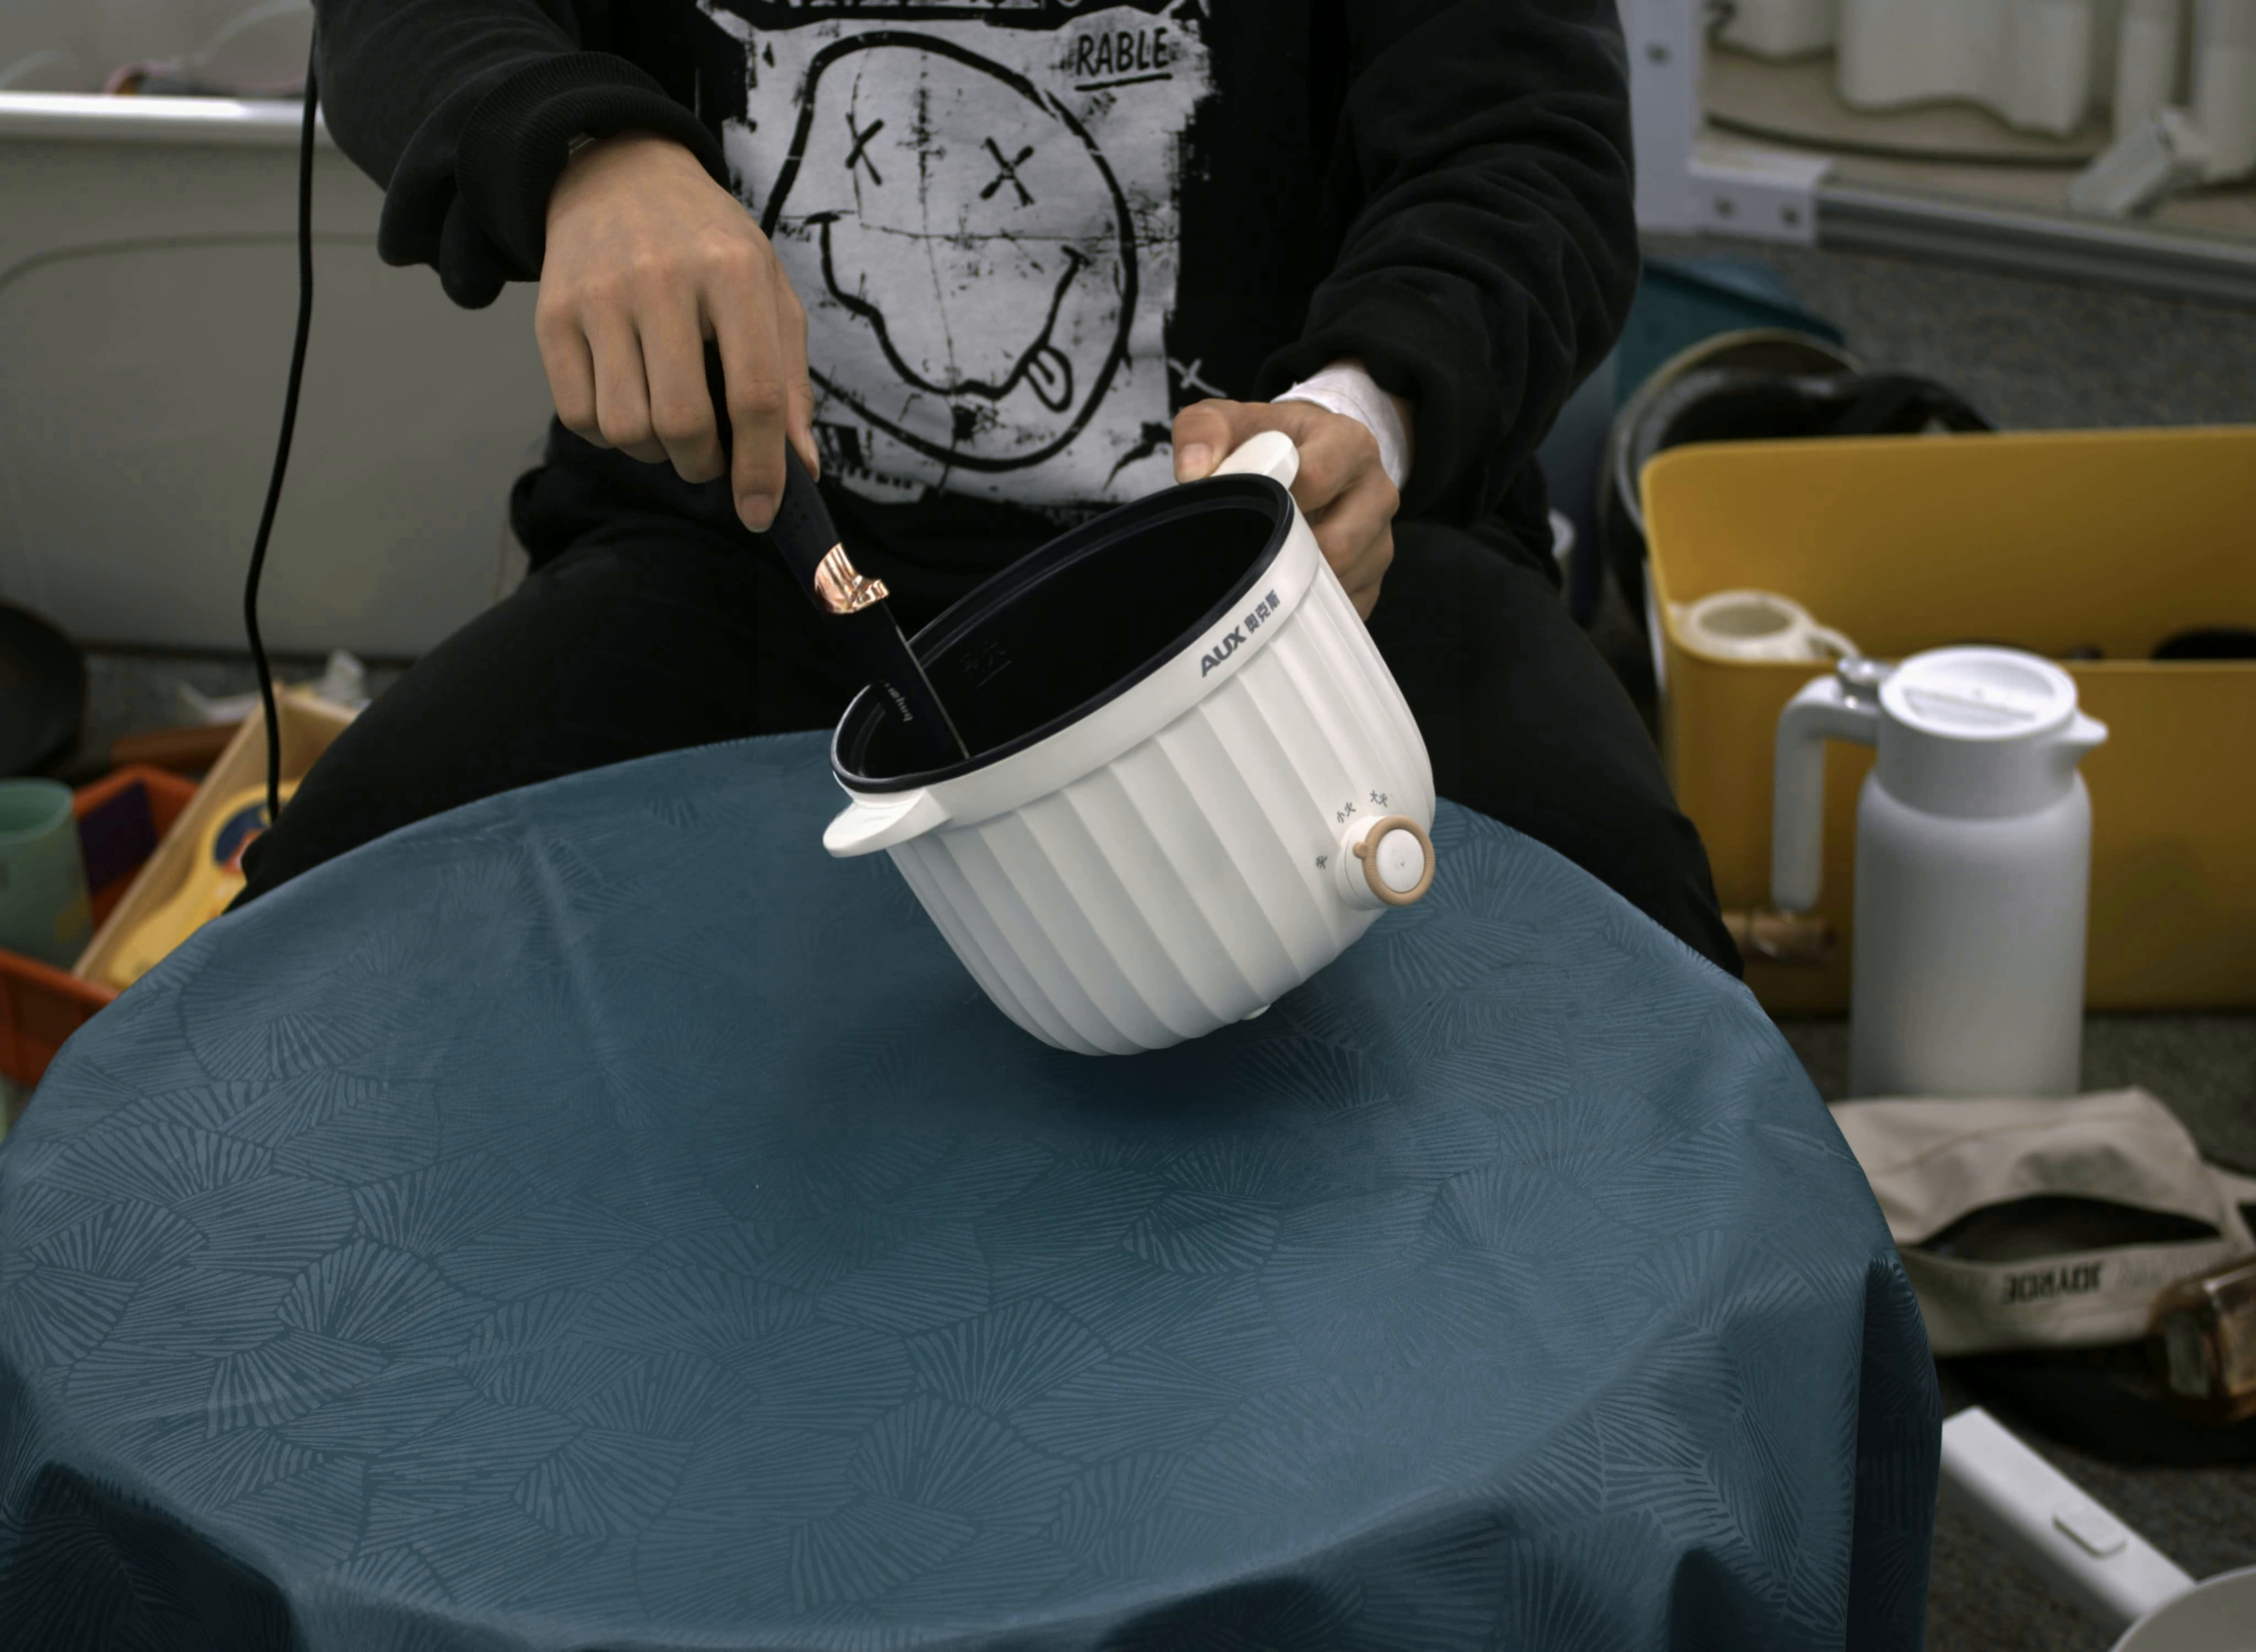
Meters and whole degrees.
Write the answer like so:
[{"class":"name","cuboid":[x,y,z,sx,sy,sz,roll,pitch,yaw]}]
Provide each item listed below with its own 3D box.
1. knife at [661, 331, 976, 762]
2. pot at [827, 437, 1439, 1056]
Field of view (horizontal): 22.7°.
[{"class":"knife","cuboid":[-0.090,-0.069,1.877,0.026,0.226,0.017,-32,2,9]},{"class":"pot","cuboid":[0.014,-0.016,1.914,0.188,0.142,0.244,-12,28,52]}]
